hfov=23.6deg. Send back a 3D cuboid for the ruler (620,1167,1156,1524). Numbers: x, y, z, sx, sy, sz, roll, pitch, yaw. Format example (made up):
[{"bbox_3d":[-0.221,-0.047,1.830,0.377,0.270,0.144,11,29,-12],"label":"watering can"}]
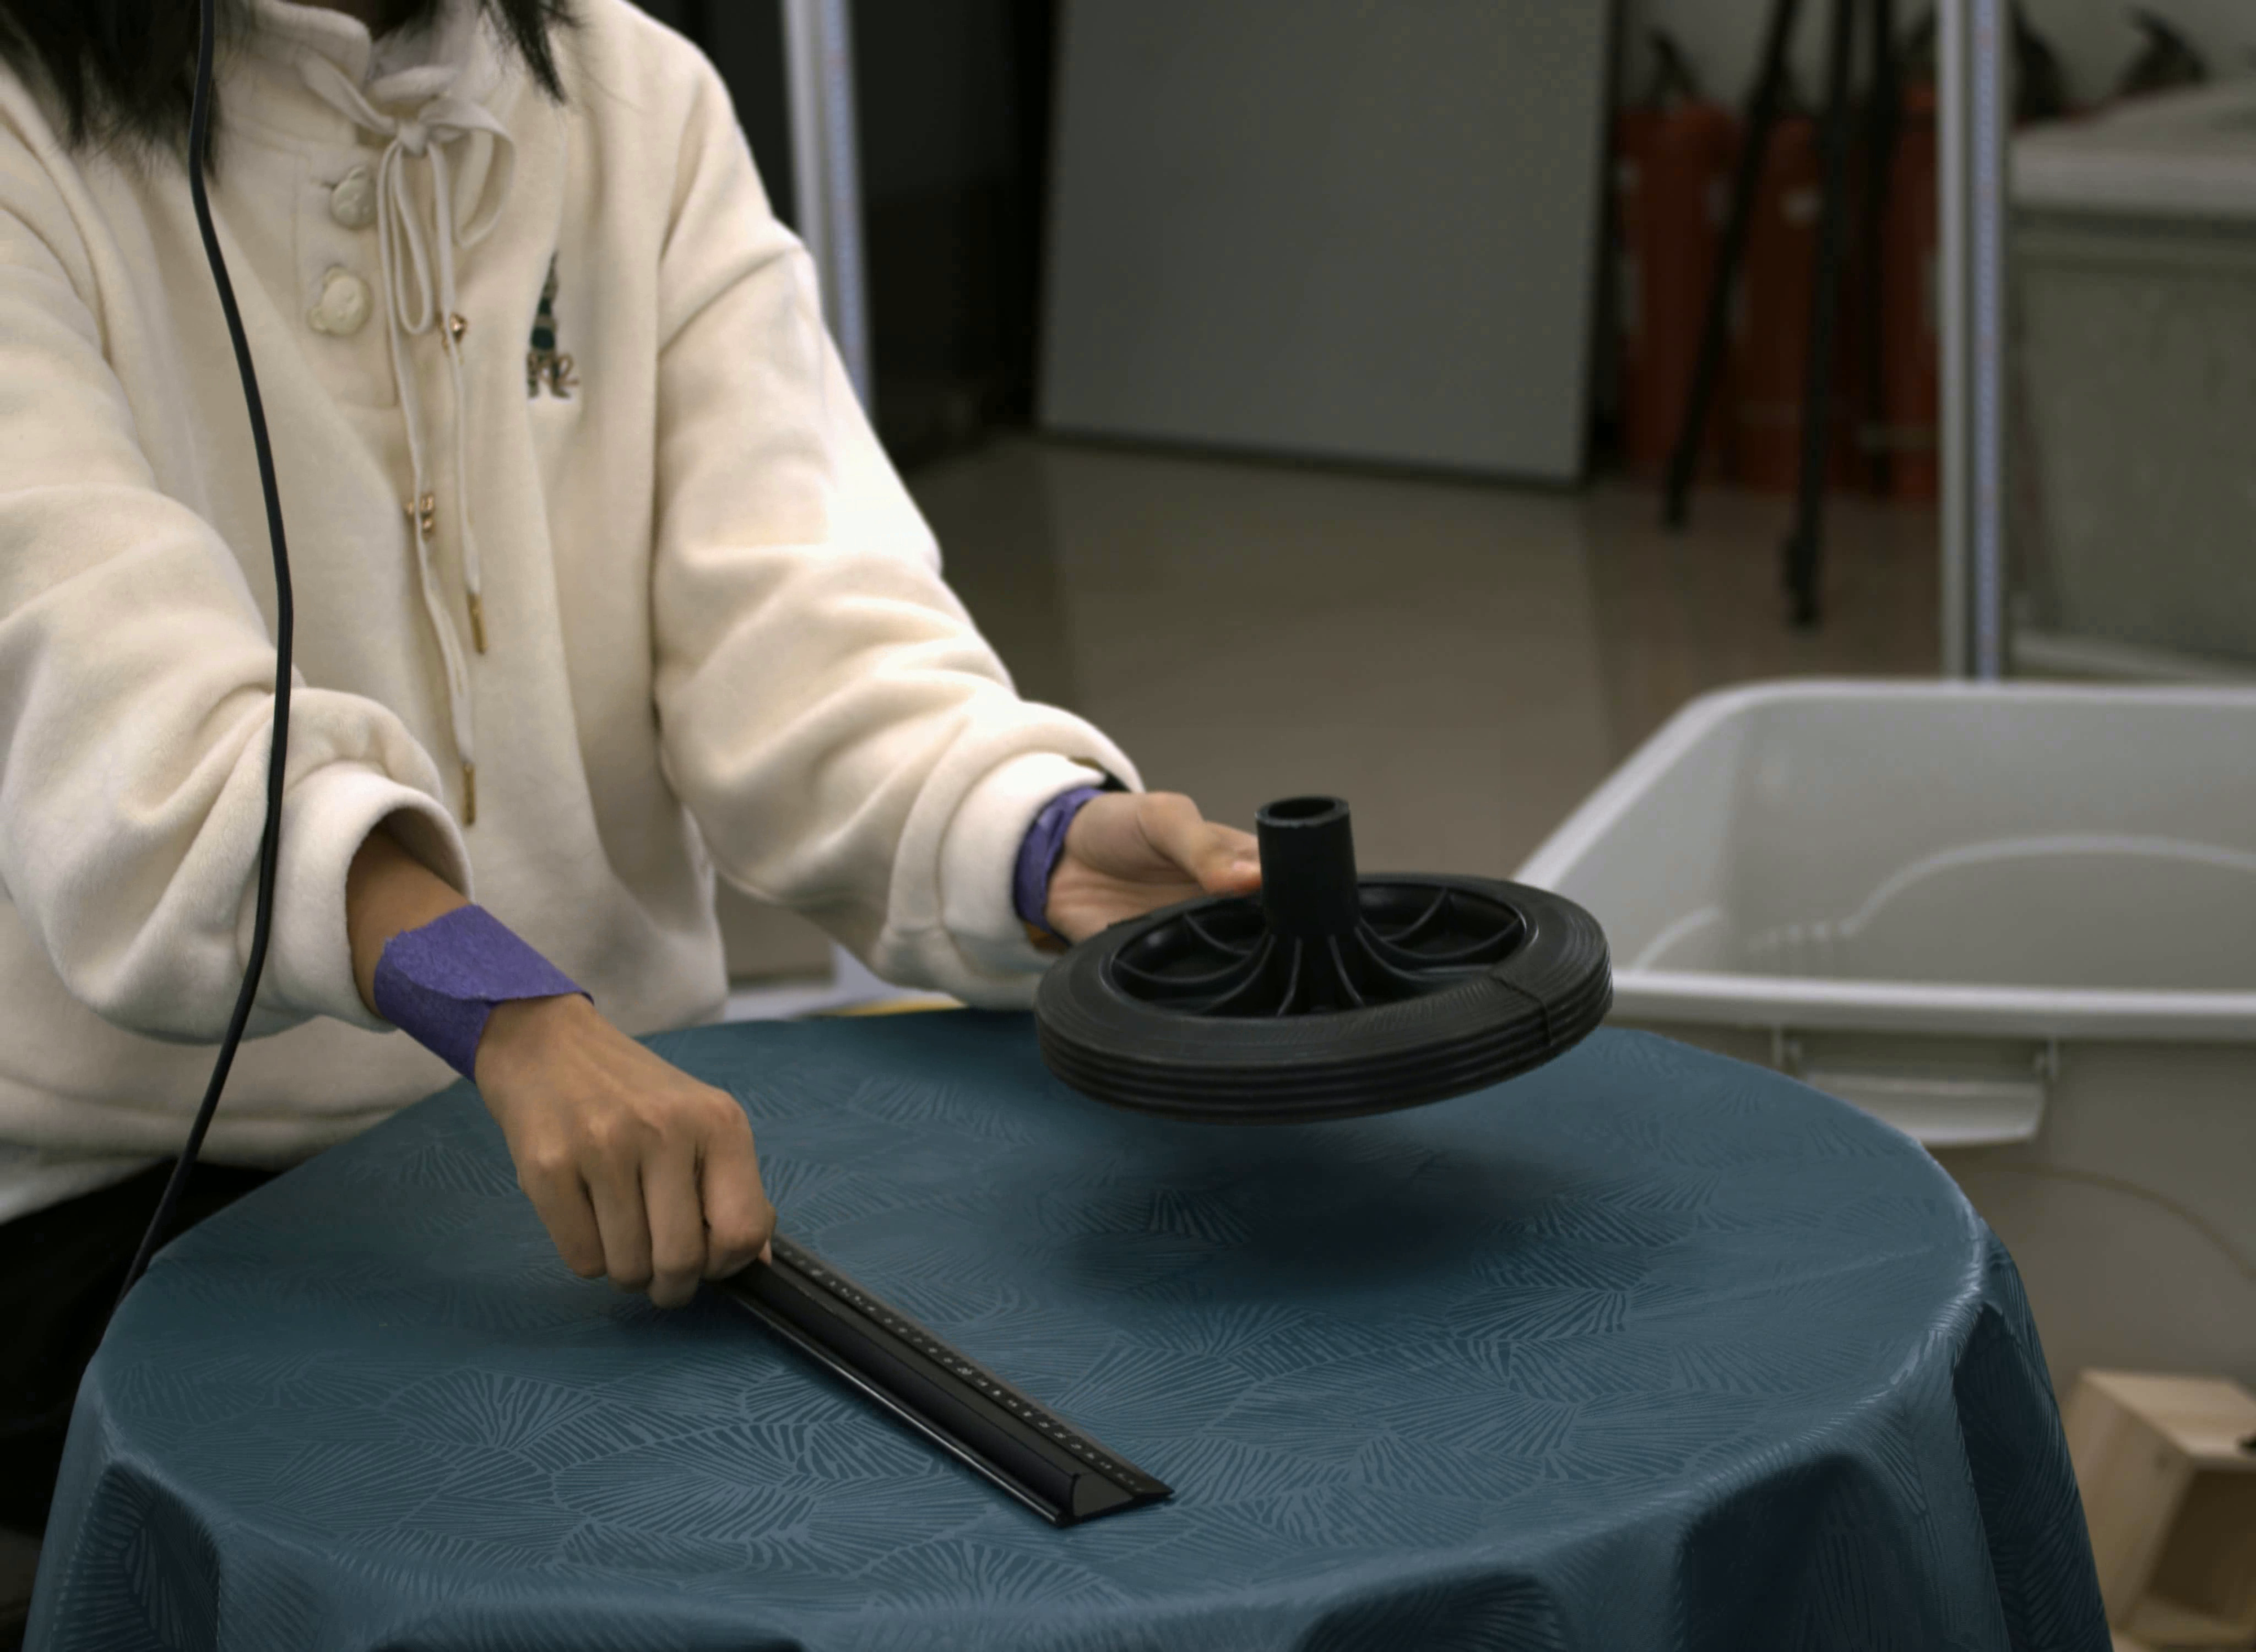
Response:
[{"bbox_3d":[-0.077,0.148,1.620,0.038,0.017,0.316,-10,17,-25],"label":"ruler"}]

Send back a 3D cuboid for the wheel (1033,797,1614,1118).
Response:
[{"bbox_3d":[0.060,0.033,1.730,0.187,0.080,0.188,-9,16,-8],"label":"wheel"}]
